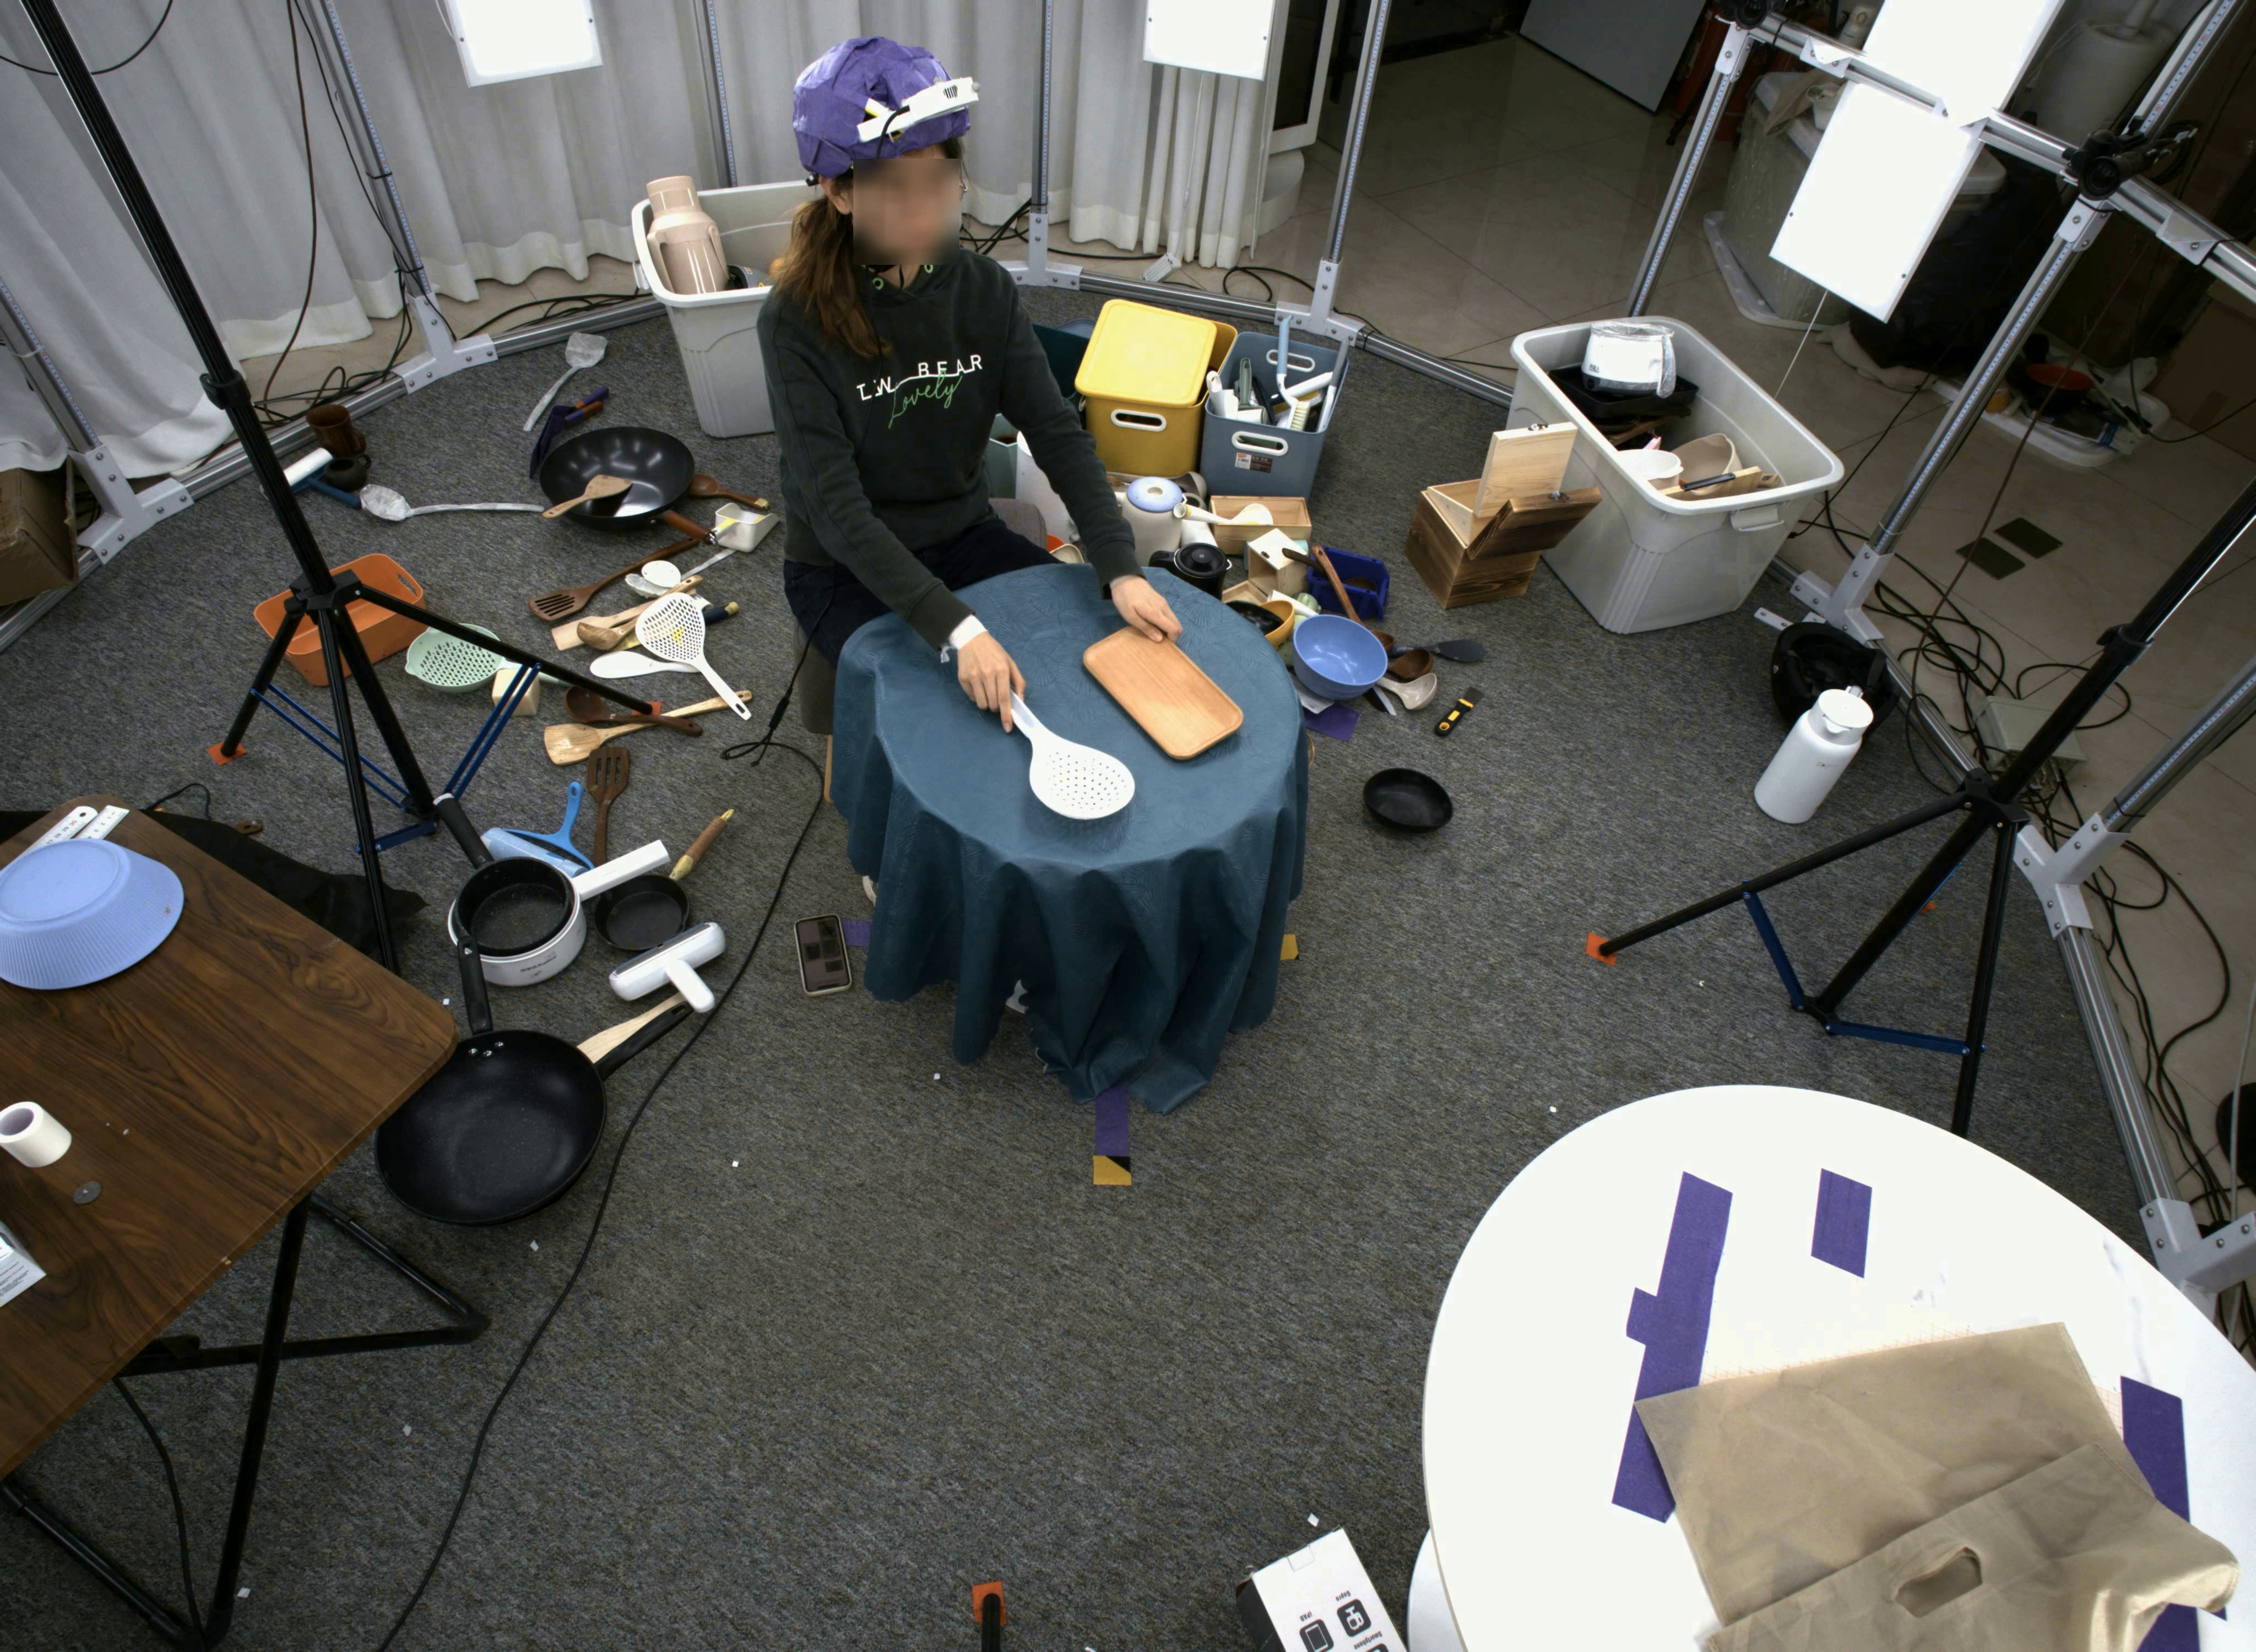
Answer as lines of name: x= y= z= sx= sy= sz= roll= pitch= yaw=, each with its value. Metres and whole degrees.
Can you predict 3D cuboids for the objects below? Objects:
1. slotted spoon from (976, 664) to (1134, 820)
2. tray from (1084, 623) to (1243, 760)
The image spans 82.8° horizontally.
slotted spoon: x=-0.117 y=-0.119 z=1.747 sx=0.136 sy=0.045 sz=0.357 roll=-17 pitch=52 yaw=-29
tray: x=0.048 y=-0.195 z=1.836 sx=0.131 sy=0.022 sz=0.255 roll=-29 pitch=55 yaw=-19
